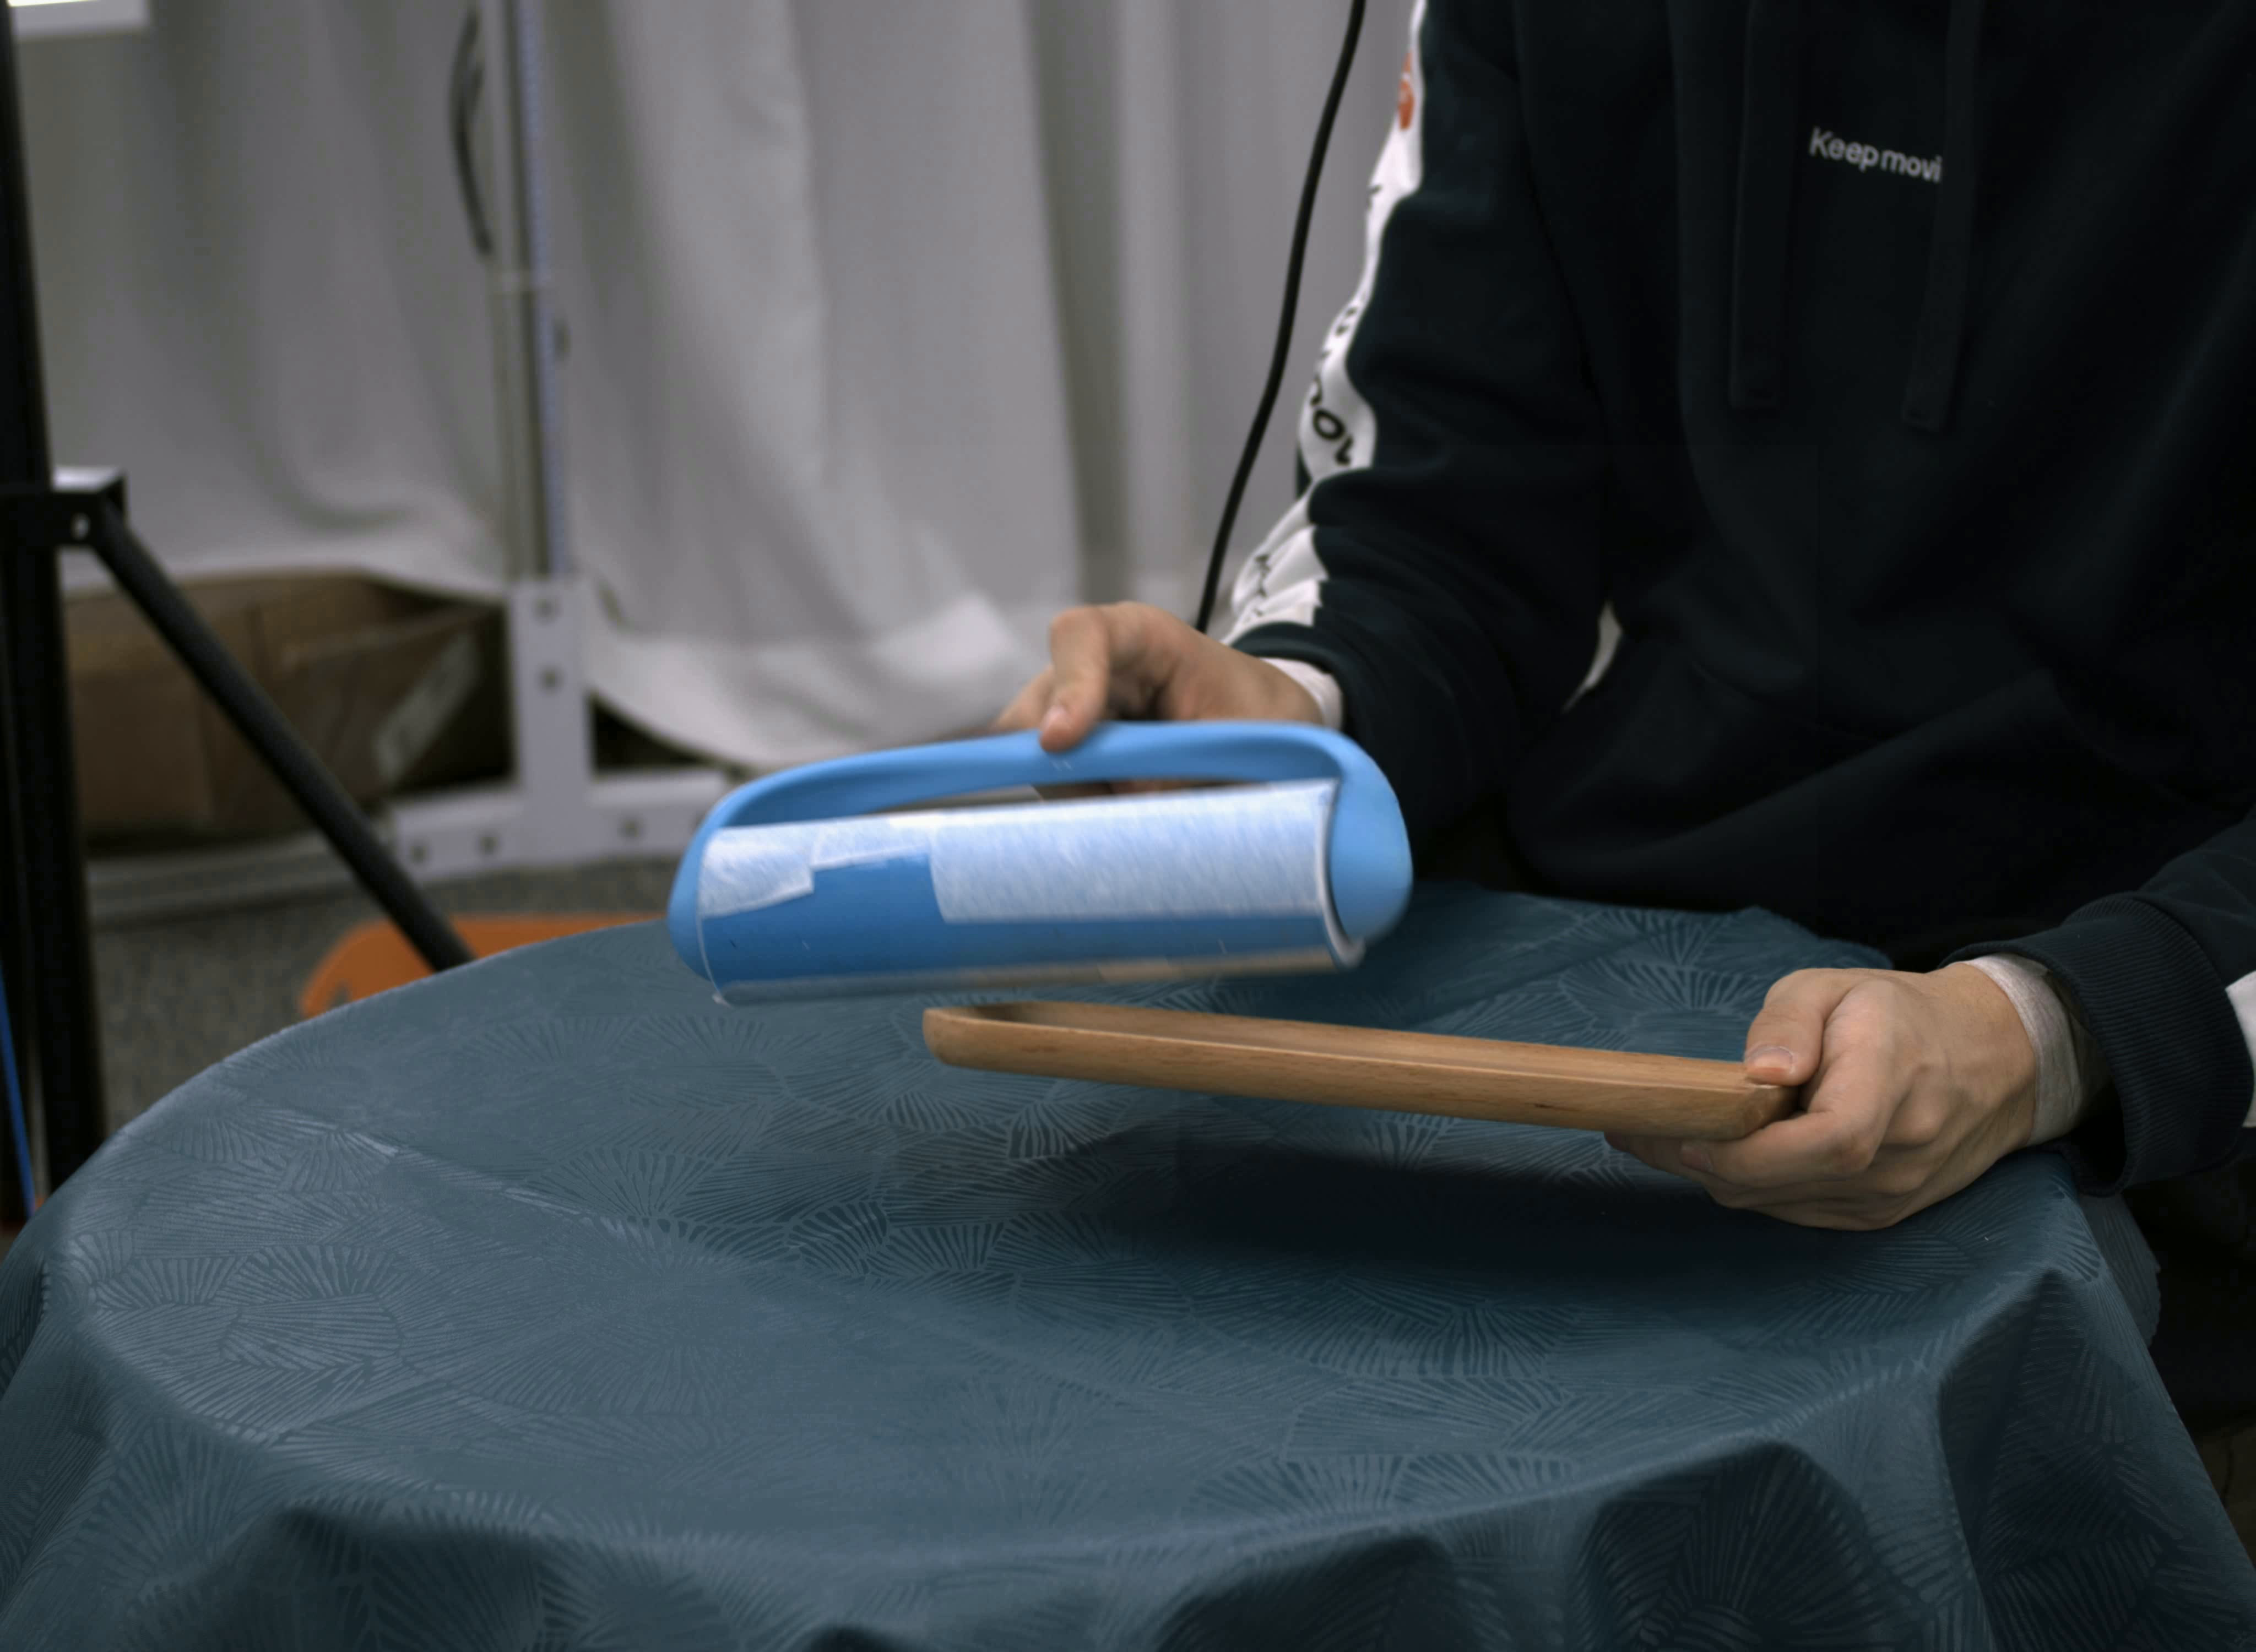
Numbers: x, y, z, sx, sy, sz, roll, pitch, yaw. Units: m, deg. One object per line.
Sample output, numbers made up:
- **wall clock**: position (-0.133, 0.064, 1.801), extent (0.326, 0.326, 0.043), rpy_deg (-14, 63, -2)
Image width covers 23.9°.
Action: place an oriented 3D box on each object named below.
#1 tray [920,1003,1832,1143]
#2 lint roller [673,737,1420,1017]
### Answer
- **tray**: position (0.070, 0.070, 1.519), extent (0.254, 0.023, 0.128), rpy_deg (4, -1, 25)
- **lint roller**: position (-0.012, 0.004, 1.610), extent (0.231, 0.068, 0.179), rpy_deg (-6, 17, 18)
